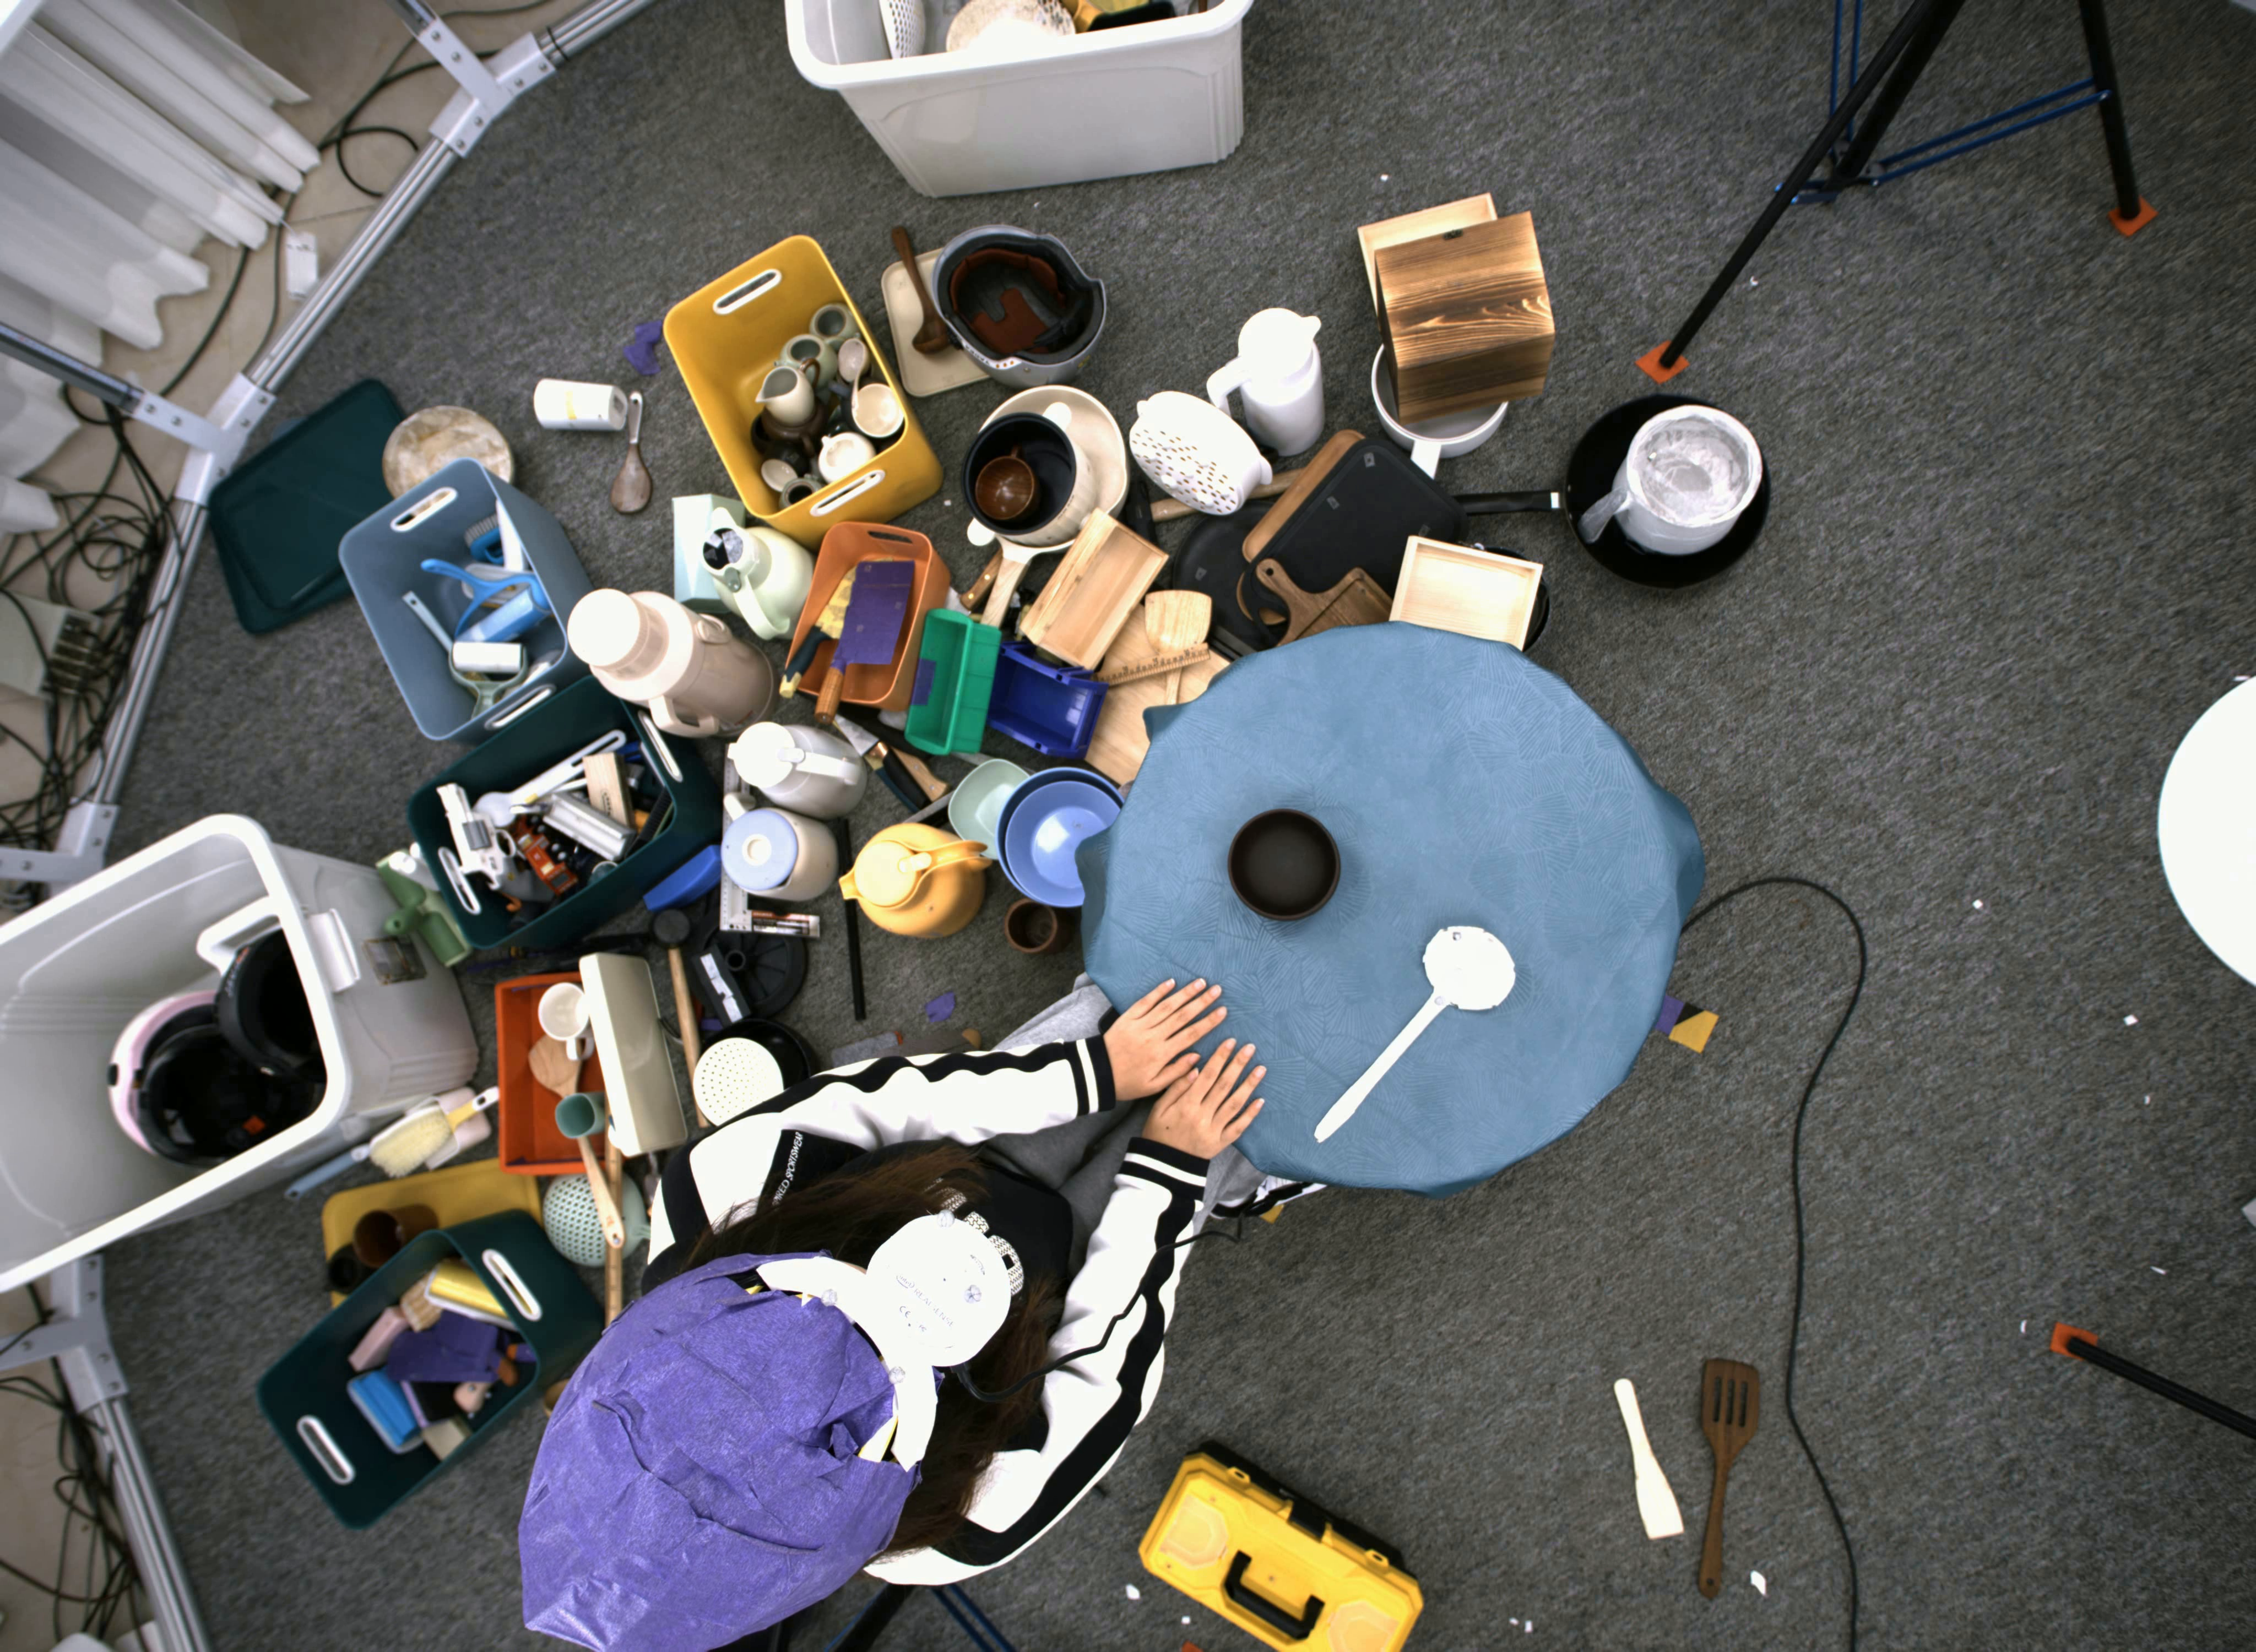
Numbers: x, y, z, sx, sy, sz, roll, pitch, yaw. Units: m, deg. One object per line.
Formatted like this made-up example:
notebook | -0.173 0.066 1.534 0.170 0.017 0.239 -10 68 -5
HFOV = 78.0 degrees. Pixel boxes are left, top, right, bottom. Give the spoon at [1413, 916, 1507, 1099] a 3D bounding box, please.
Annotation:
spoon | 0.363 0.202 1.492 0.100 0.283 0.058 20 59 31

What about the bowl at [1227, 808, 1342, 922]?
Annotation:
bowl | 0.164 0.042 1.444 0.118 0.070 0.117 -1 86 11
